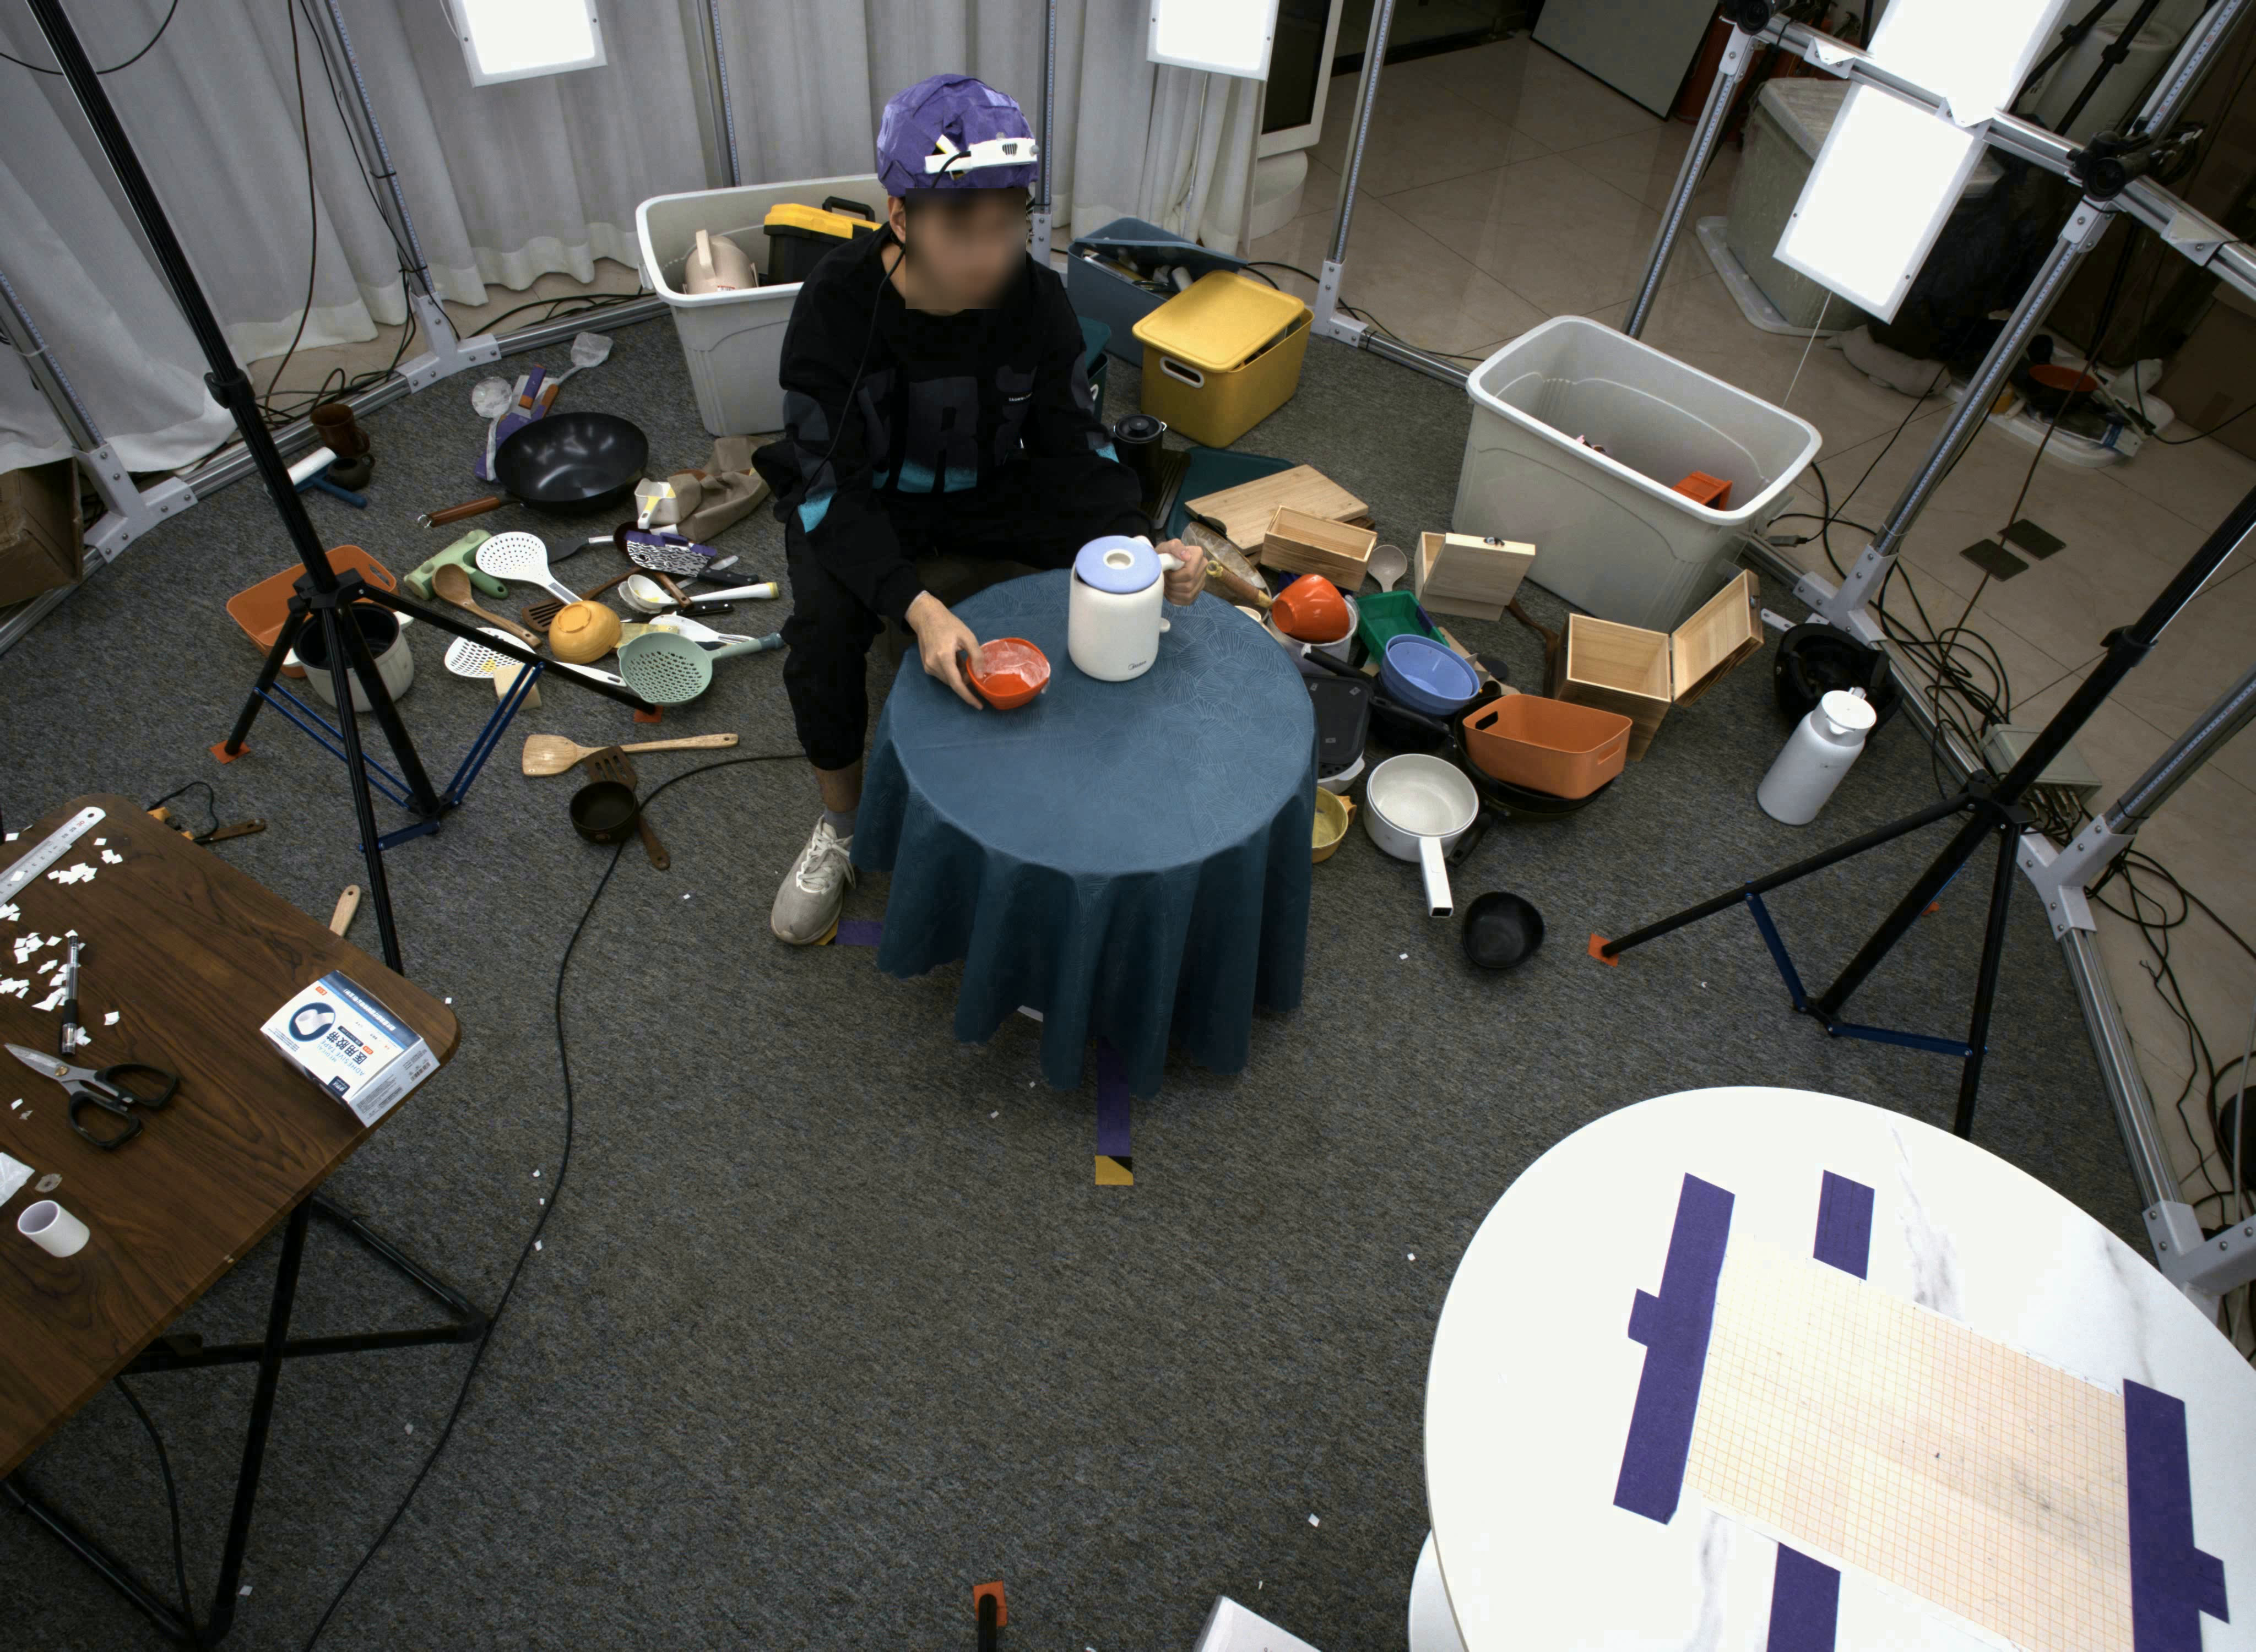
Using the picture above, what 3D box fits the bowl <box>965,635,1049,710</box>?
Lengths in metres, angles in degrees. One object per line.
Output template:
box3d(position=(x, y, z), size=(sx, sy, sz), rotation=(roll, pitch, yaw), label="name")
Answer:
box3d(position=(-0.168, -0.208, 1.804), size=(0.119, 0.050, 0.122), rotation=(0, 55, 0), label="bowl")

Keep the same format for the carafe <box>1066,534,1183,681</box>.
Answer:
box3d(position=(0.001, -0.318, 1.834), size=(0.192, 0.178, 0.135), rotation=(-24, 56, -25), label="carafe")
